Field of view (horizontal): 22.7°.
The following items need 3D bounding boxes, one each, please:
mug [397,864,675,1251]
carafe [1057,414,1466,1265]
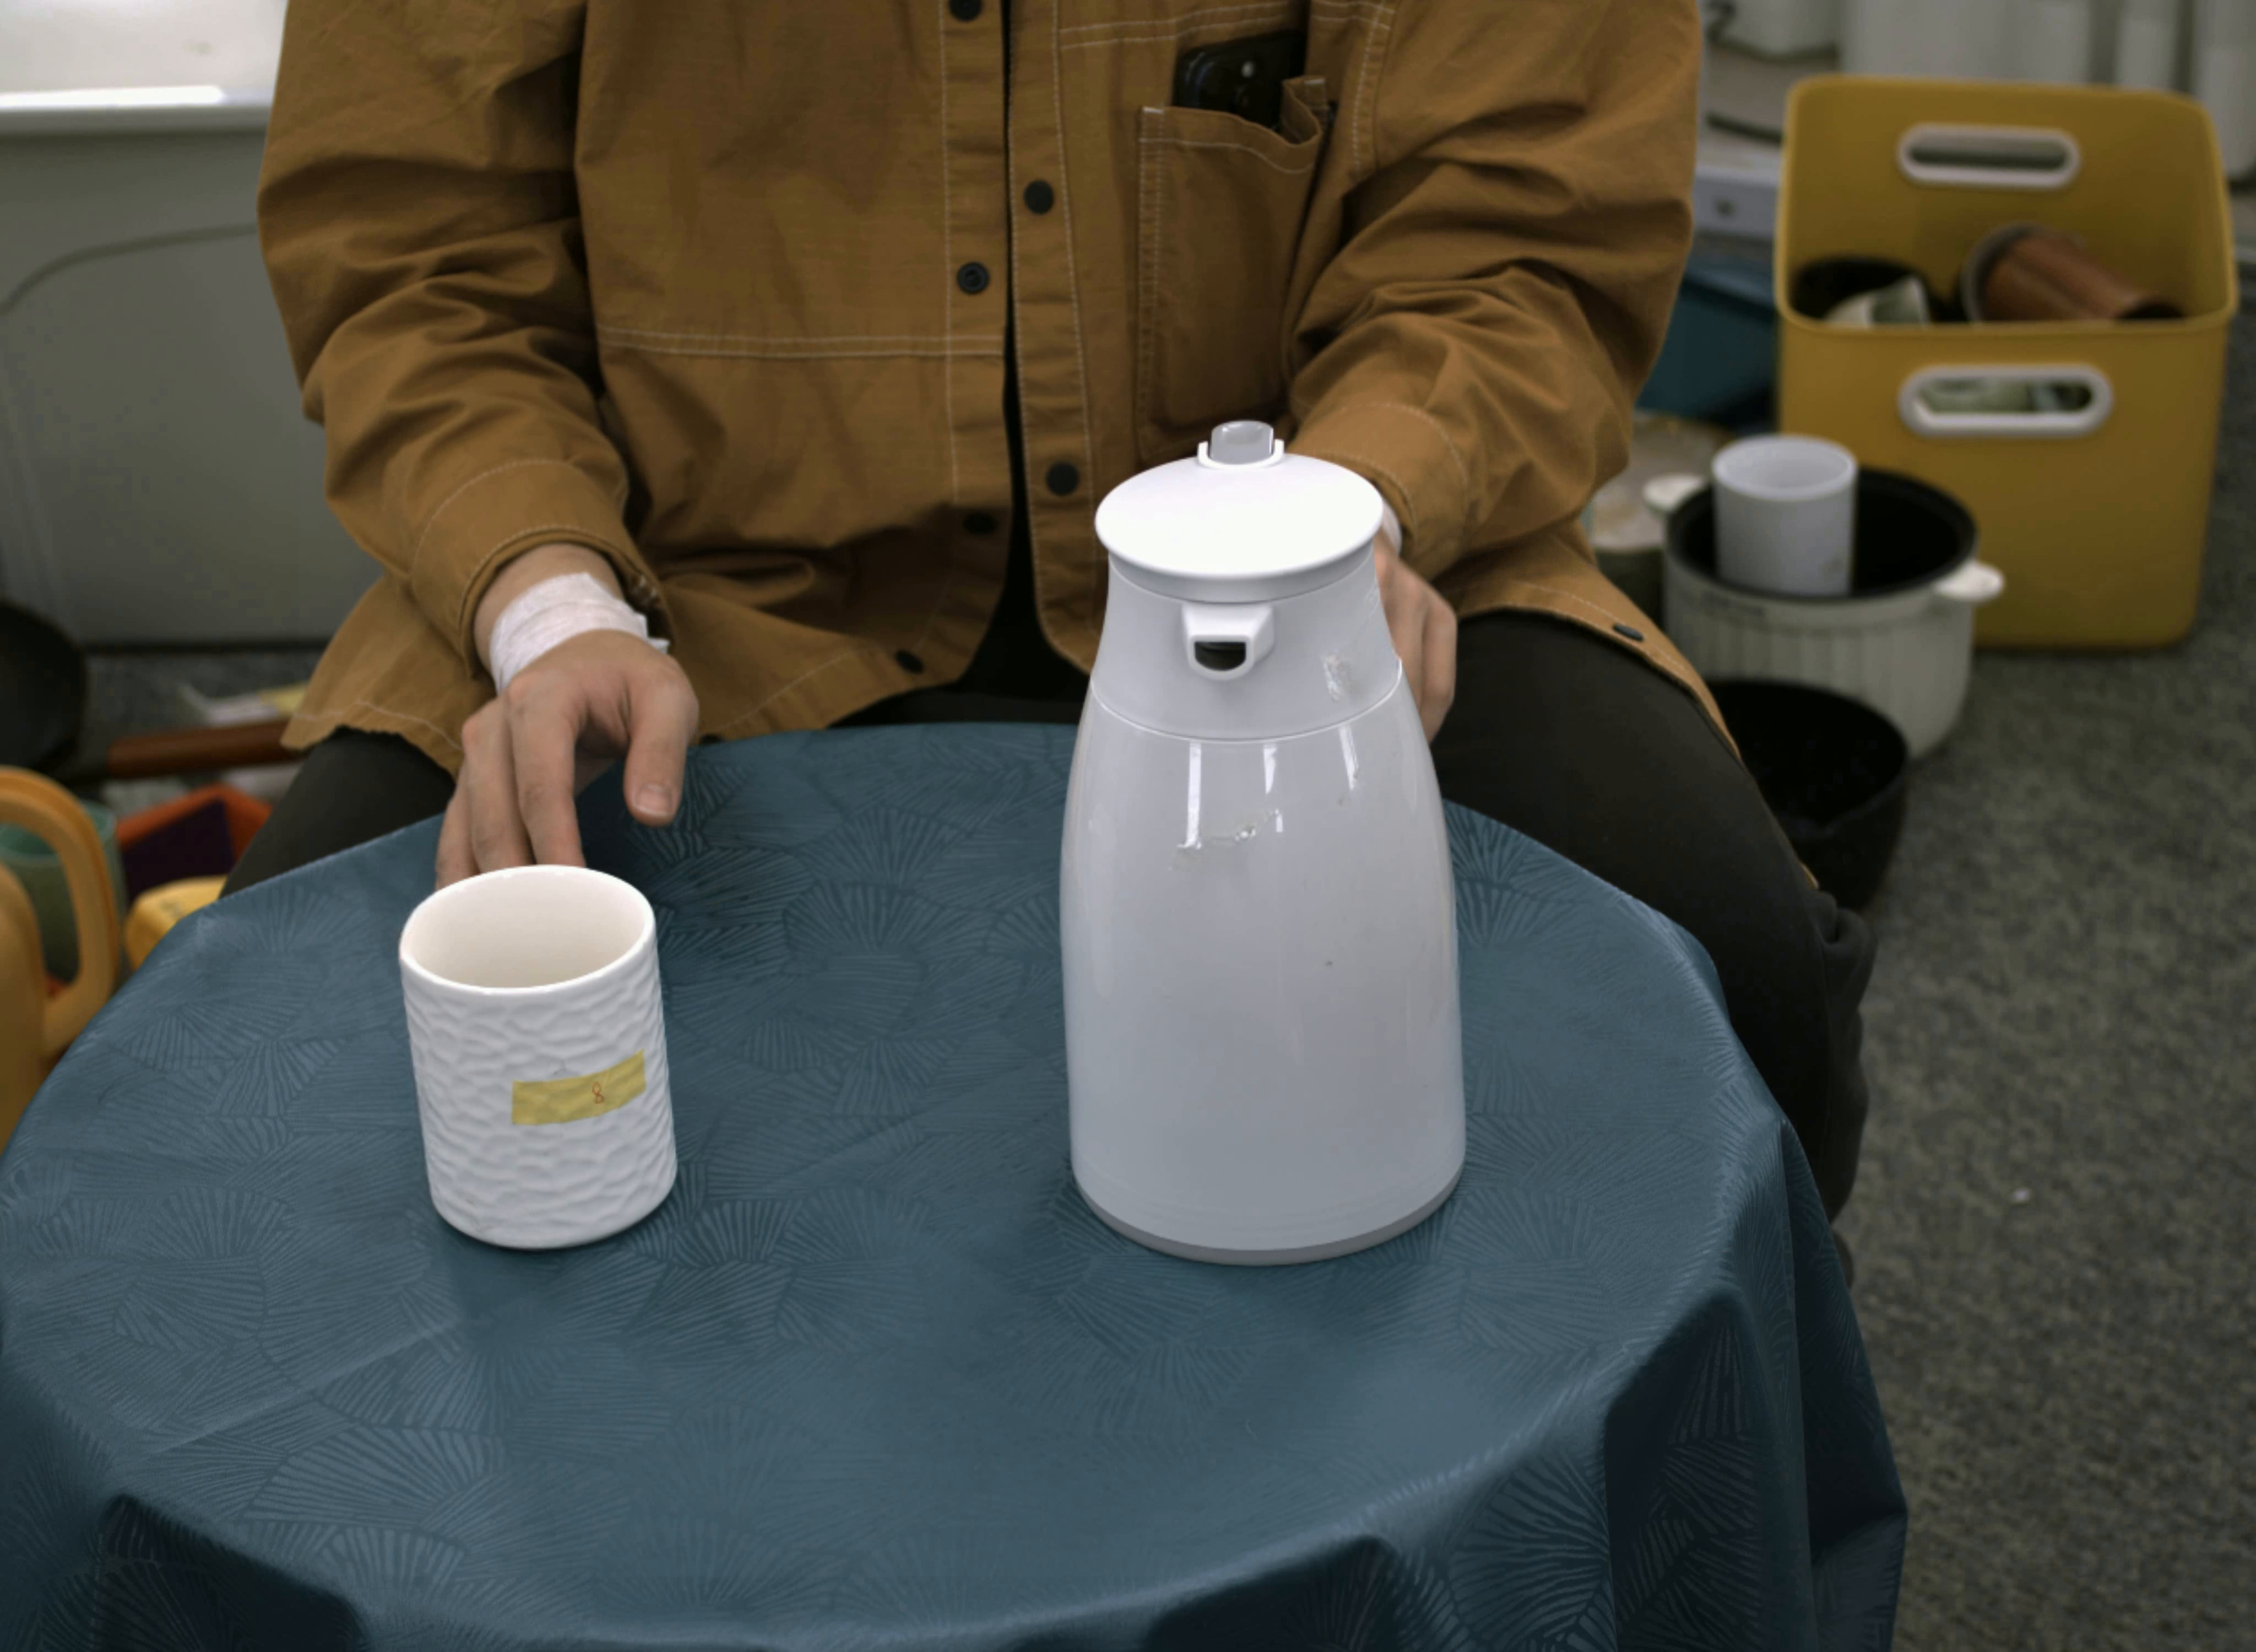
[{"bbox_3d":[-0.196,0.071,1.867,0.085,0.101,0.120,-5,26,-5],"label":"mug"},{"bbox_3d":[0.040,-0.006,1.836,0.132,0.246,0.170,-1,26,6],"label":"carafe"}]
